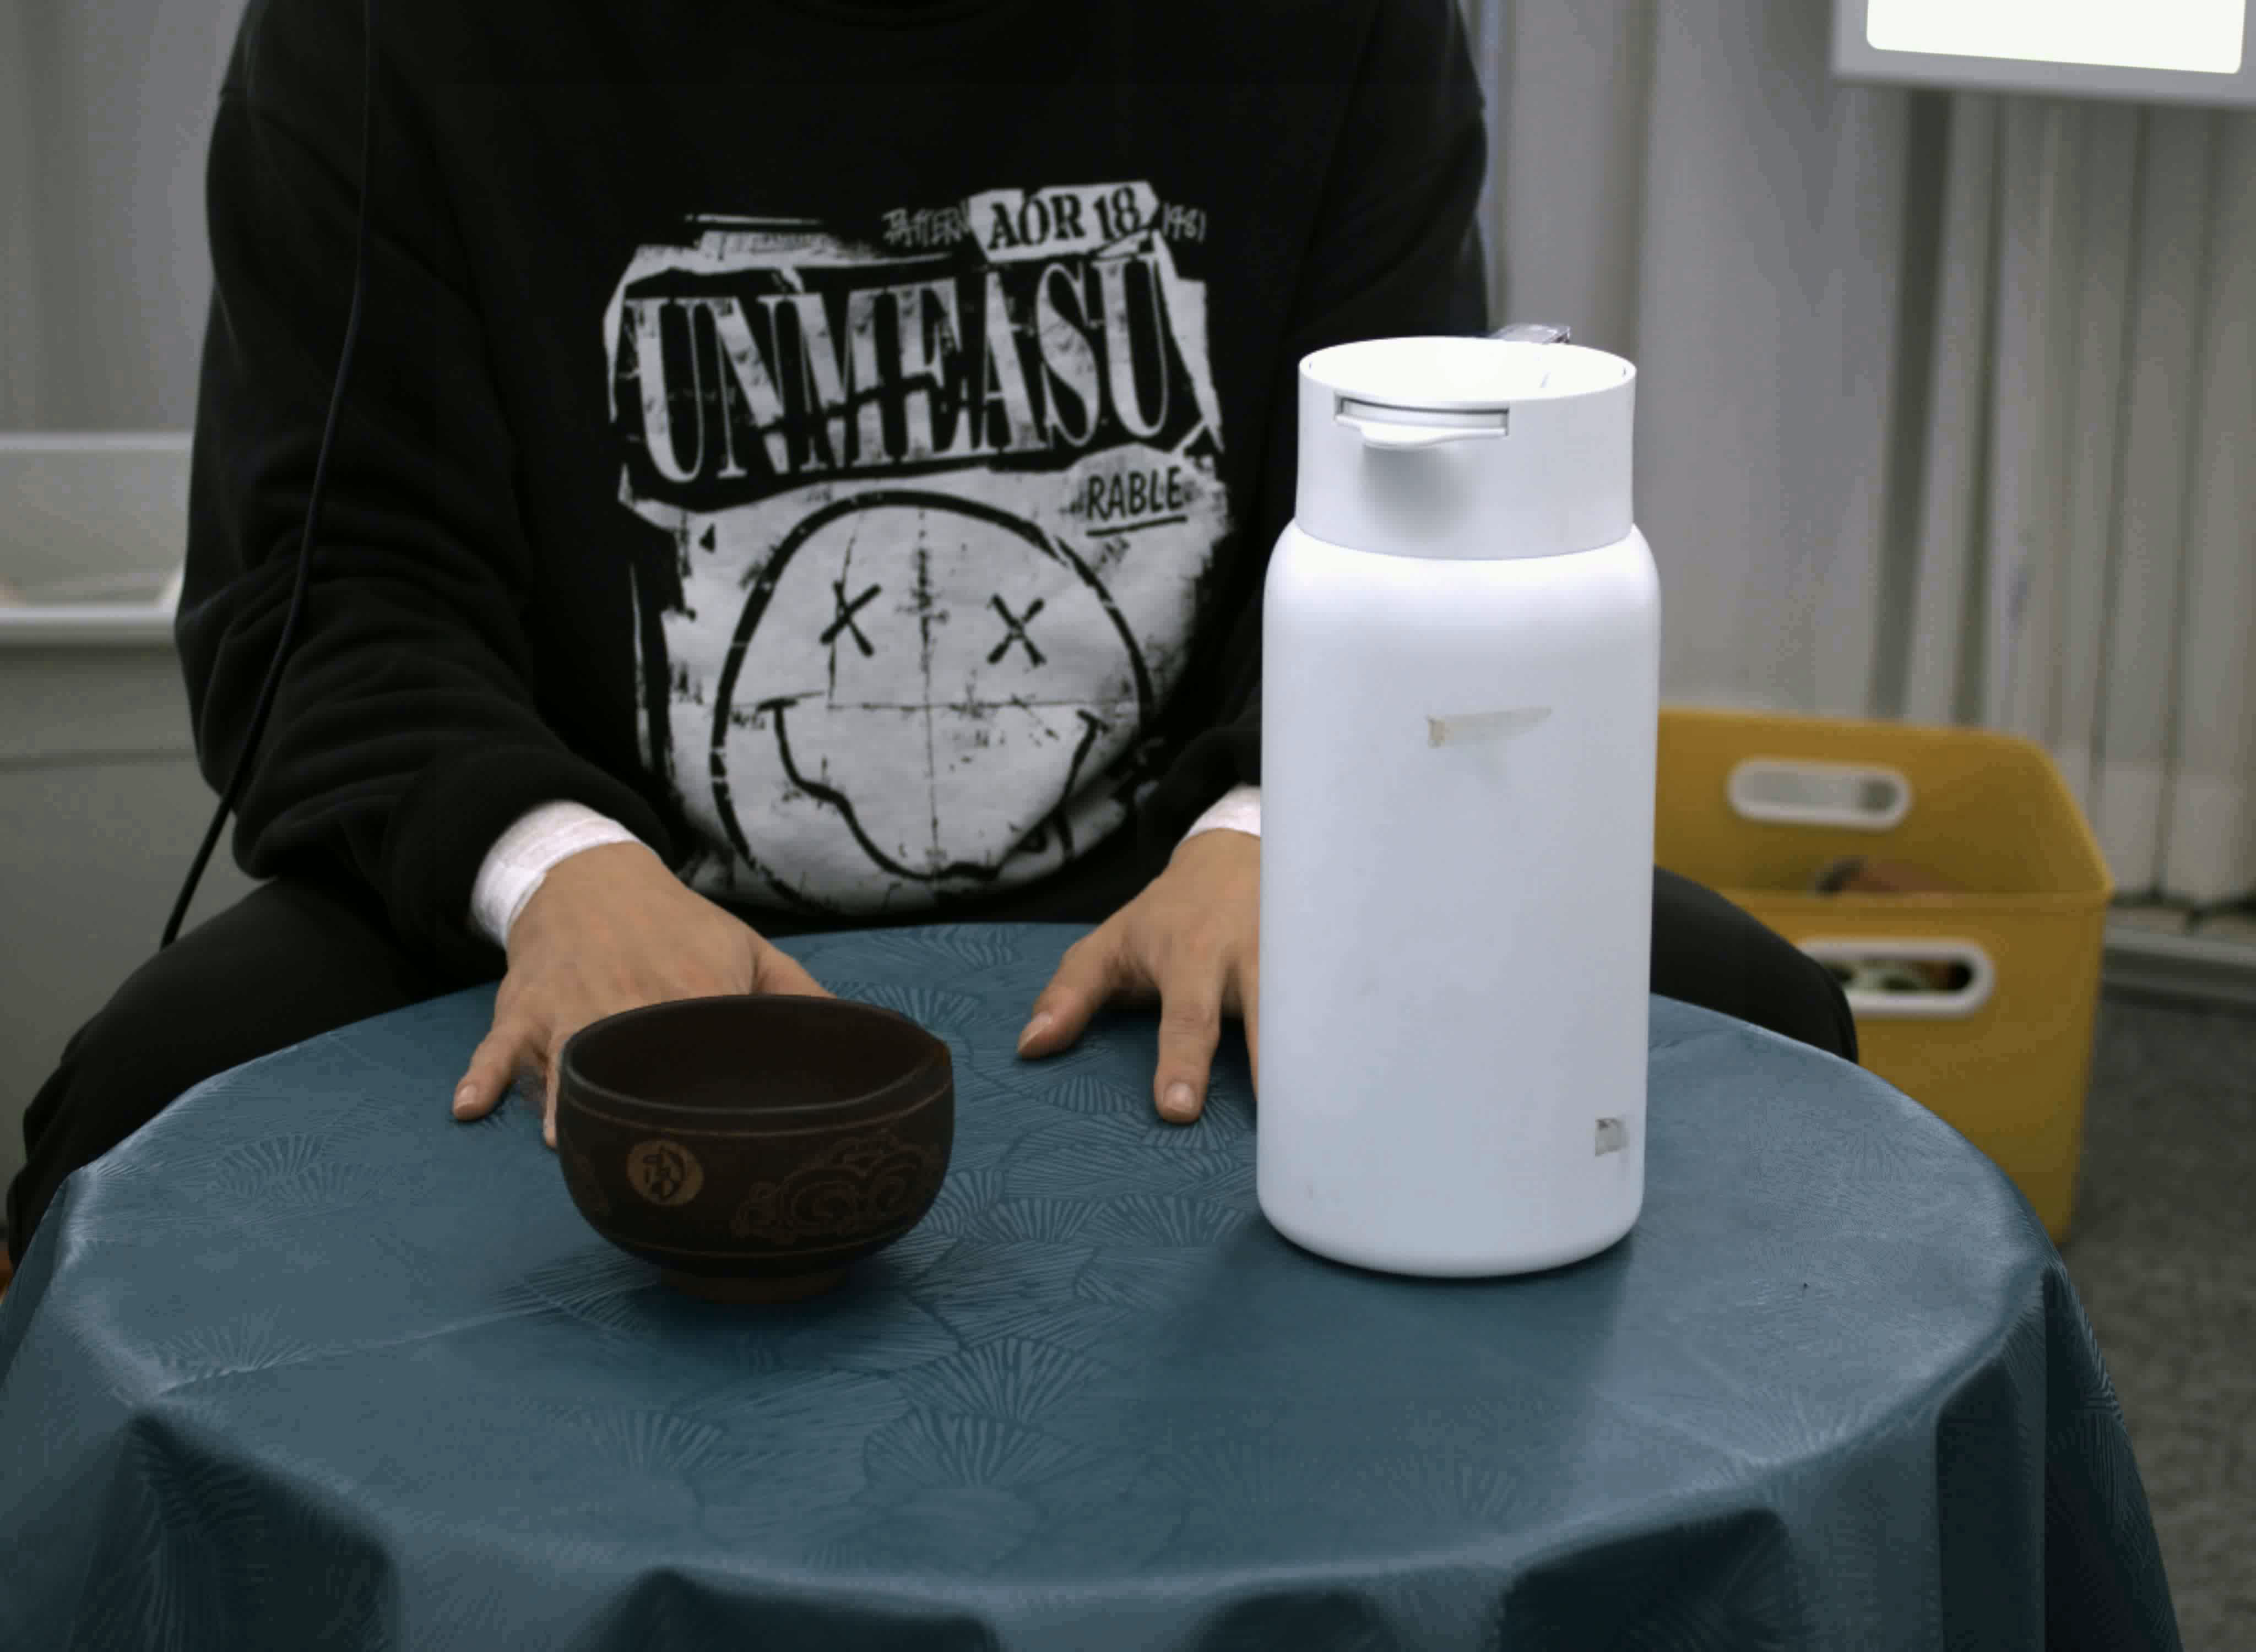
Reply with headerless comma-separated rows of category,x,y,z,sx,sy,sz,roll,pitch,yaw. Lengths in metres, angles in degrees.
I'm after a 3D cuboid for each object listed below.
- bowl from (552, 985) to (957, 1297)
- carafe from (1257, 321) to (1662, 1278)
bowl,-0.109,0.096,1.541,0.117,0.070,0.117,0,15,0
carafe,0.103,-0.013,1.575,0.122,0.271,0.173,4,17,20
